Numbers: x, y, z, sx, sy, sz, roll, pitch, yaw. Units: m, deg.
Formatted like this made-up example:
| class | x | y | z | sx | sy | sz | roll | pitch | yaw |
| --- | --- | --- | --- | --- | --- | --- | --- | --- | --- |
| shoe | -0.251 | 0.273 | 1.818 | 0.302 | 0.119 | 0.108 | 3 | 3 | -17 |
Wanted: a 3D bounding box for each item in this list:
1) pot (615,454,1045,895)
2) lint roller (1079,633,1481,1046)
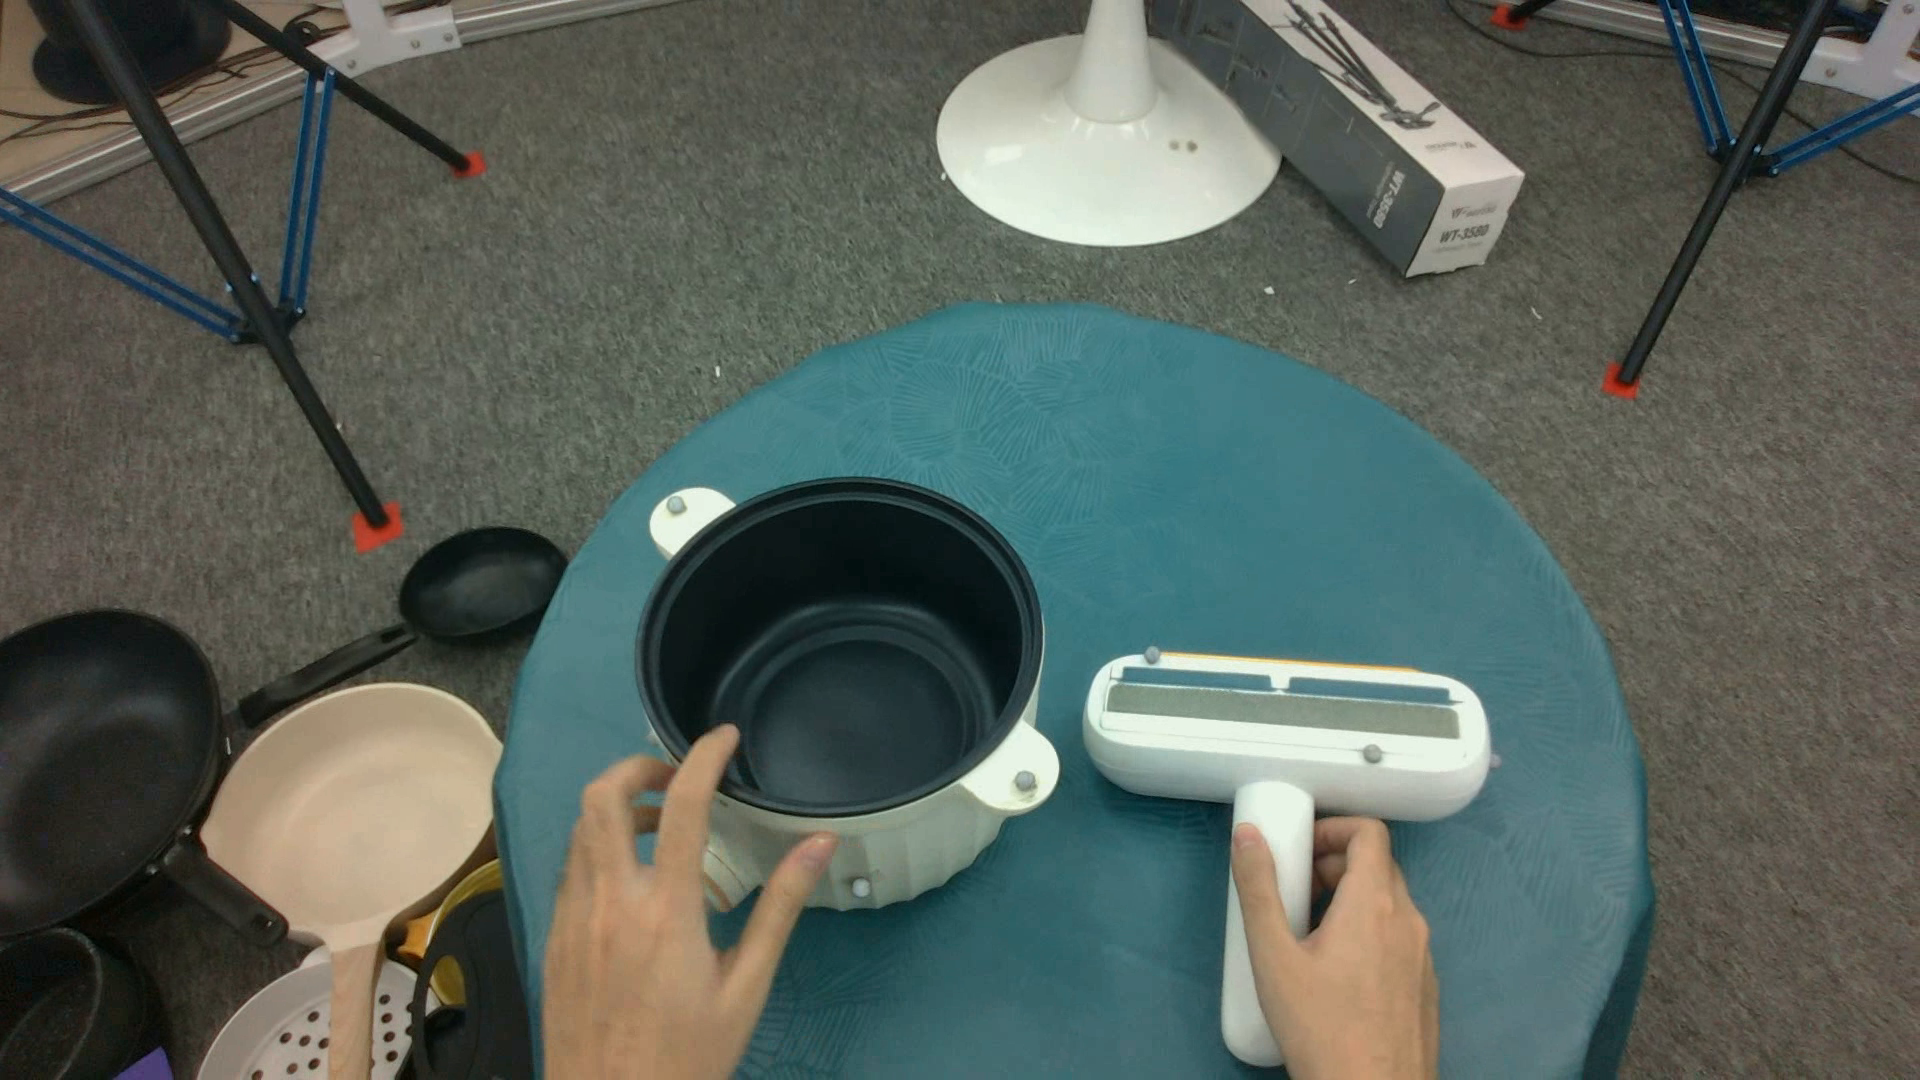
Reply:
| class | x | y | z | sx | sy | sz | roll | pitch | yaw |
| --- | --- | --- | --- | --- | --- | --- | --- | --- | --- |
| pot | -0.064 | 0.074 | 0.657 | 0.240 | 0.142 | 0.191 | 34 | 57 | 24 |
| lint roller | 0.141 | 0.138 | 0.655 | 0.192 | 0.074 | 0.193 | 9 | 54 | 13 |
